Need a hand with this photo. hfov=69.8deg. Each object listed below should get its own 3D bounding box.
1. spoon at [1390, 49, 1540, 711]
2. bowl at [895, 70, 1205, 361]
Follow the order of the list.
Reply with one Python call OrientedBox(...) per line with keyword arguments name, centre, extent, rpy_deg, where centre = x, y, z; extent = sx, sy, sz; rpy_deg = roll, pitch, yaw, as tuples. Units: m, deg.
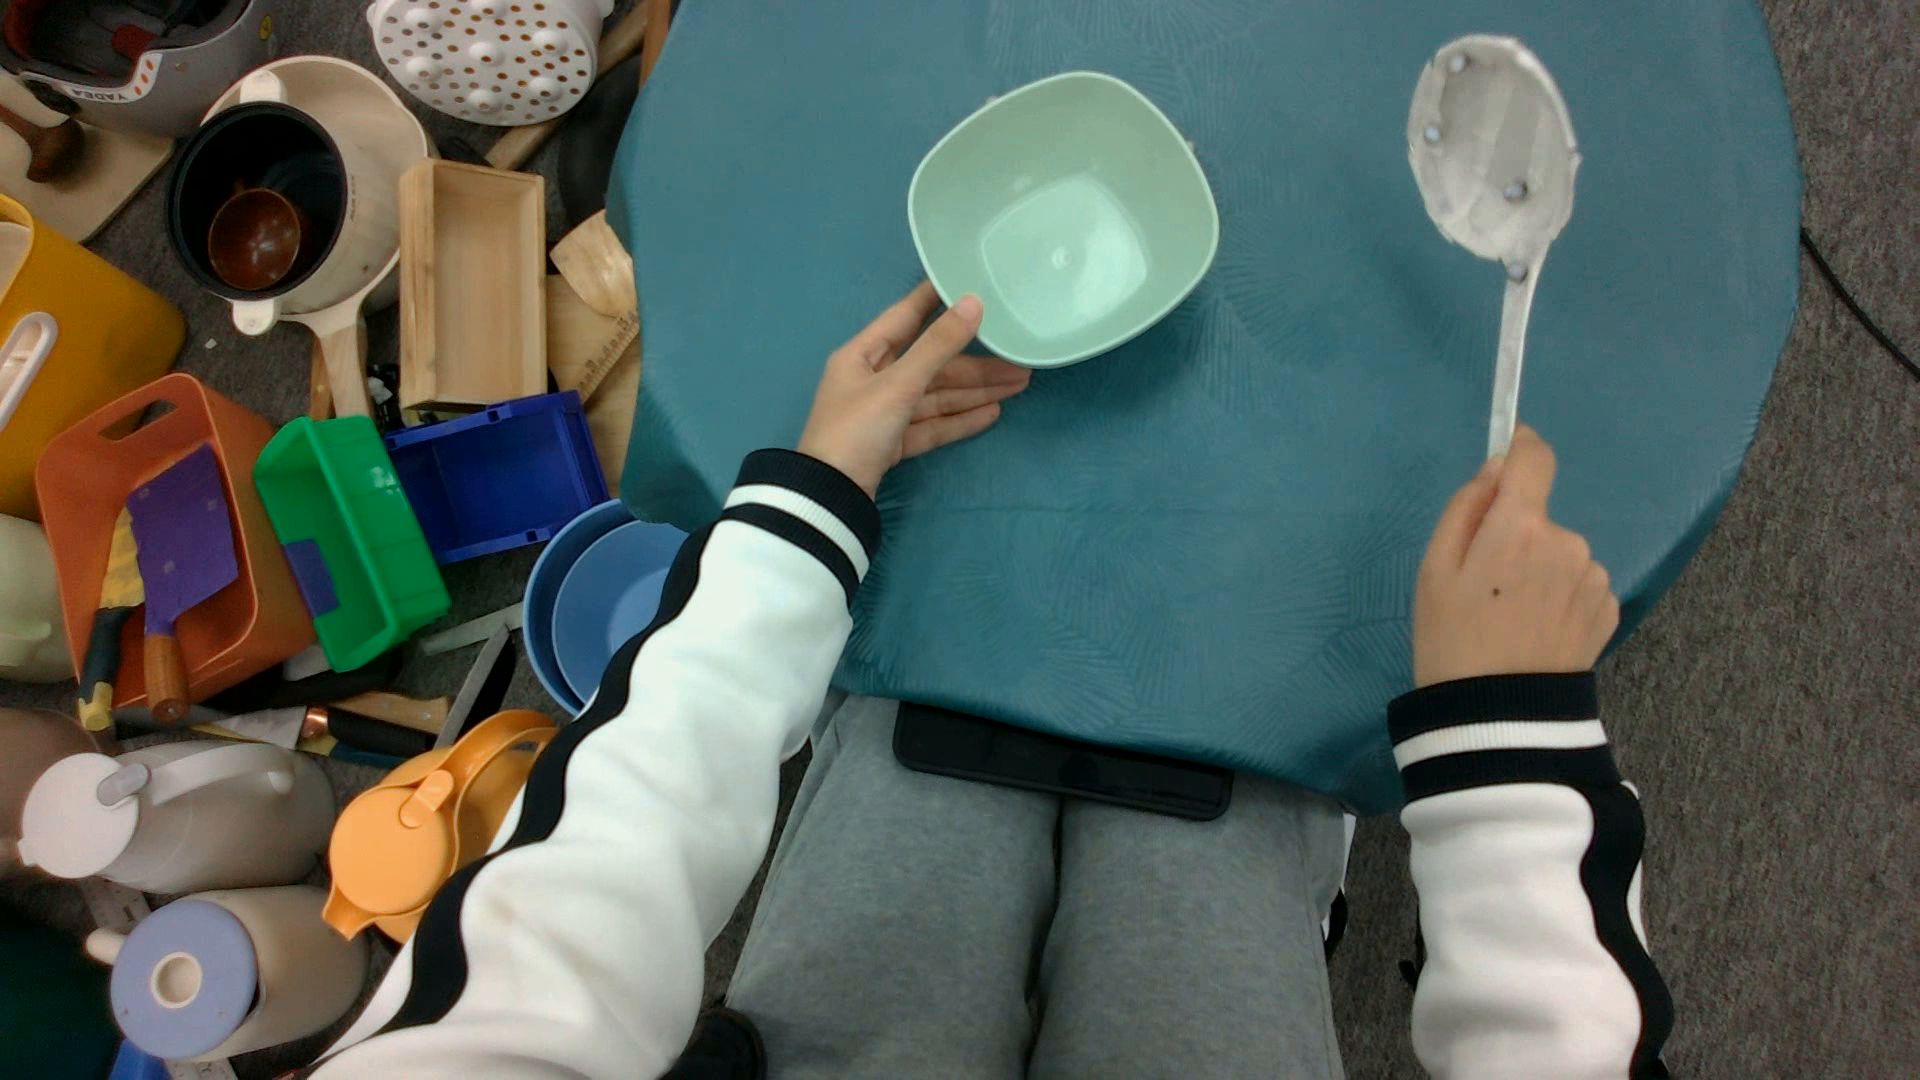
OrientedBox(name="spoon", centre=(0.199, -0.068, 0.594), extent=(0.059, 0.100, 0.277), rpy_deg=(11, 88, -7))
OrientedBox(name="bowl", centre=(0.045, -0.153, 0.688), extent=(0.151, 0.058, 0.152), rpy_deg=(-1, 78, 5))
